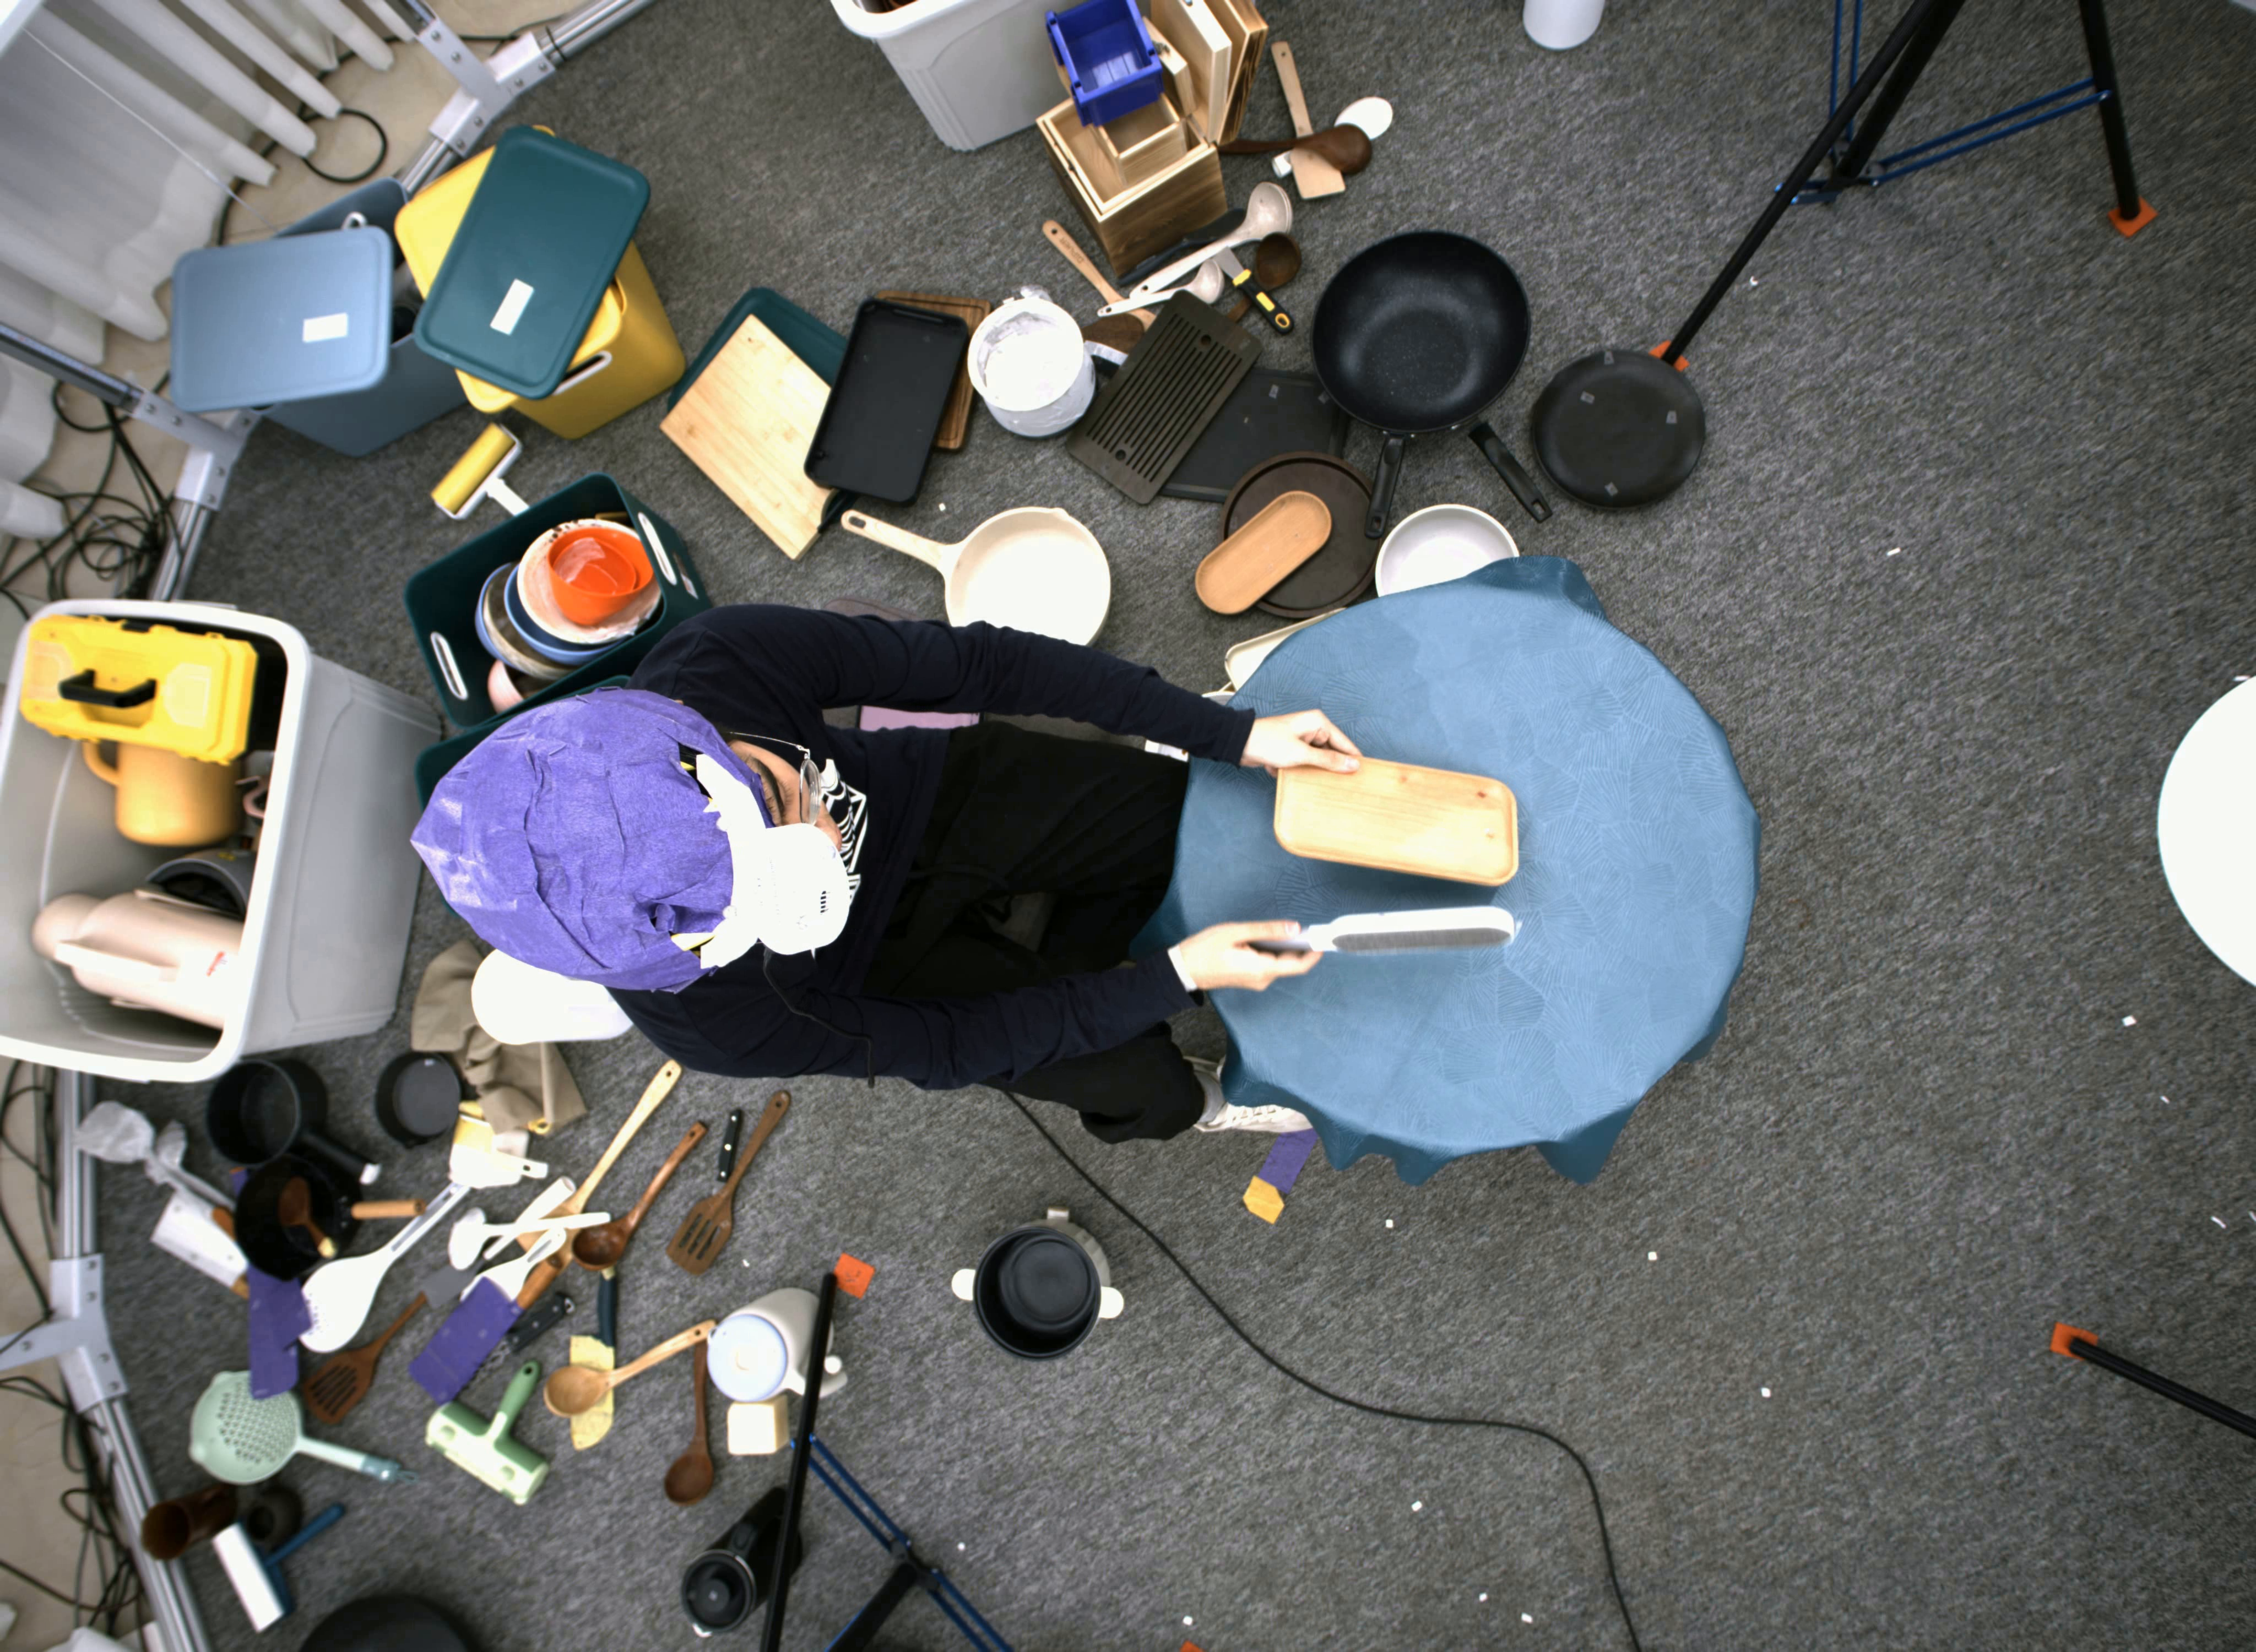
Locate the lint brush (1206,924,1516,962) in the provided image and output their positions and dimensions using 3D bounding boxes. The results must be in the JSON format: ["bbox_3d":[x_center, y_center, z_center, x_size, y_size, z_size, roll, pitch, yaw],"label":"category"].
[{"bbox_3d":[0.225,0.116,1.364,0.311,0.061,0.020,-4,65,21],"label":"lint brush"}]

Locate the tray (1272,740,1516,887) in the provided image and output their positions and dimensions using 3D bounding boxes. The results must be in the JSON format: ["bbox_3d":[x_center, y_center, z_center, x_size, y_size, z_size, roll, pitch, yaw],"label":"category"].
[{"bbox_3d":[0.271,-0.014,1.400,0.251,0.023,0.127,11,60,-1],"label":"tray"}]
